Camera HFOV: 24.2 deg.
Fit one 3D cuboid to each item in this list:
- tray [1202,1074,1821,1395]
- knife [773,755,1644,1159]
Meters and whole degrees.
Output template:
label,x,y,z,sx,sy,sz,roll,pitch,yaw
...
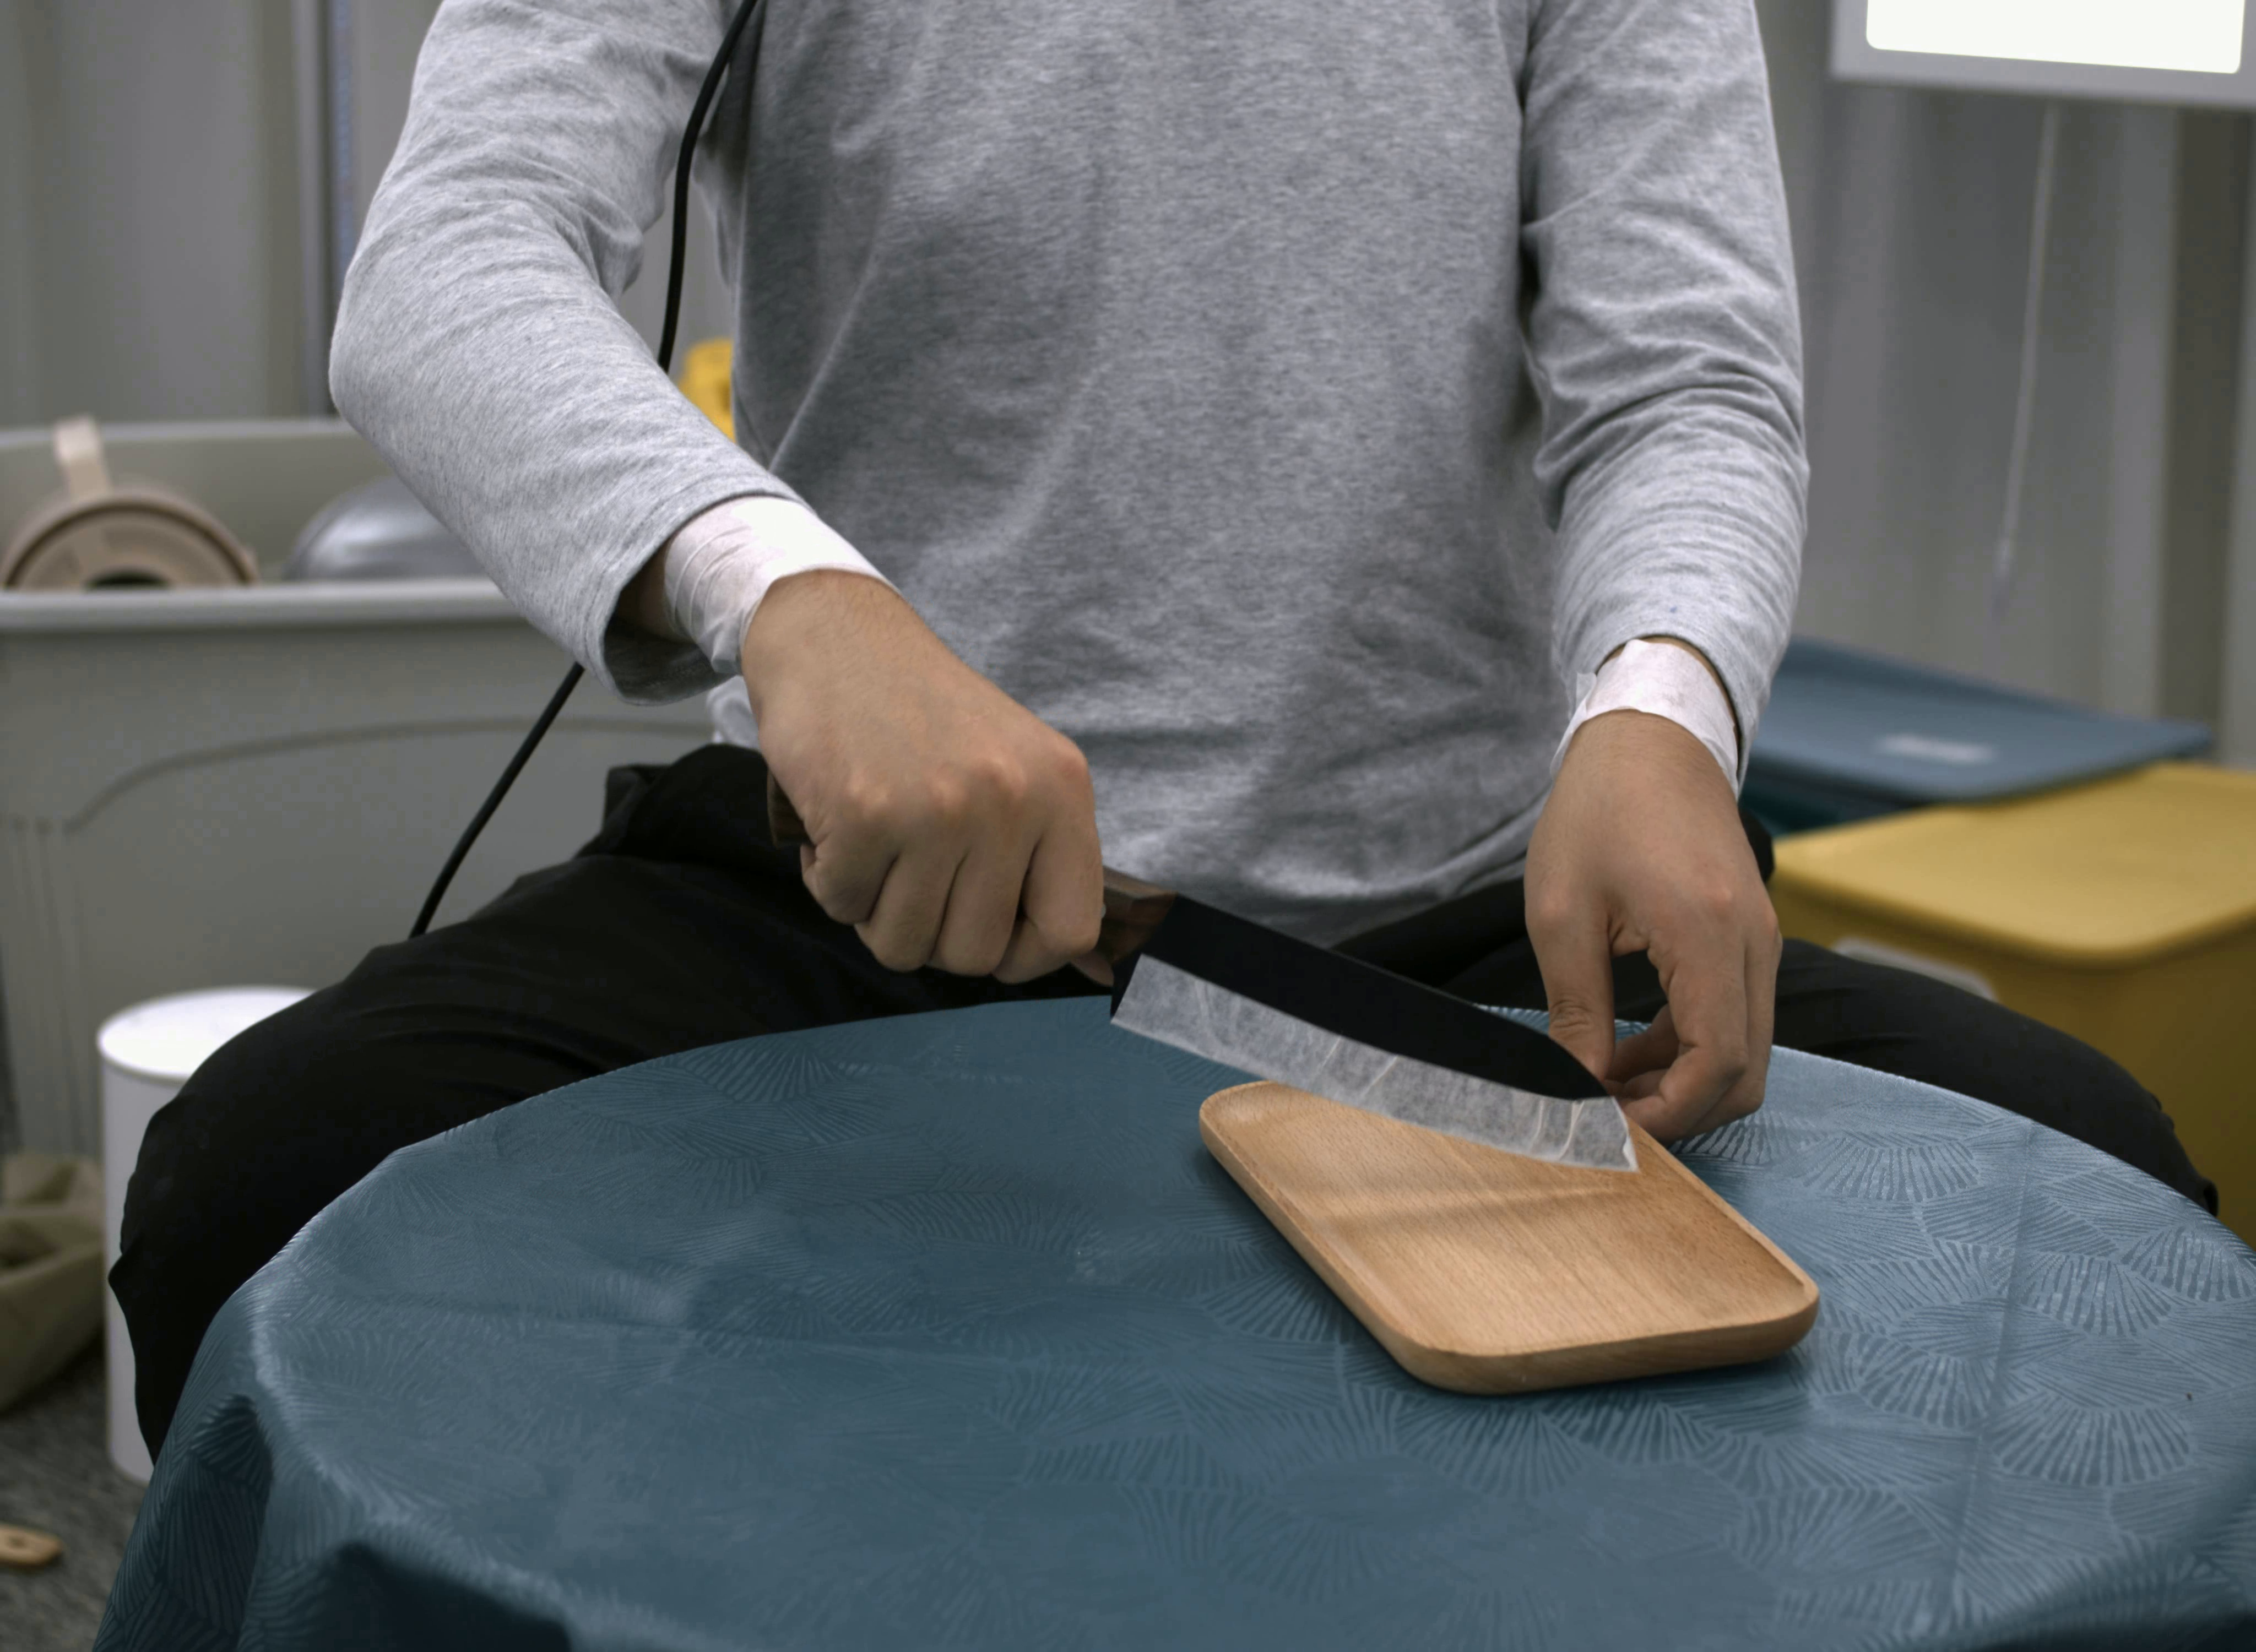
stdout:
label,x,y,z,sx,sy,sz,roll,pitch,yaw
tray,0.110,0.116,1.579,0.131,0.023,0.248,-3,15,-14
knife,0.025,0.041,1.574,0.289,0.050,0.020,23,11,-9
